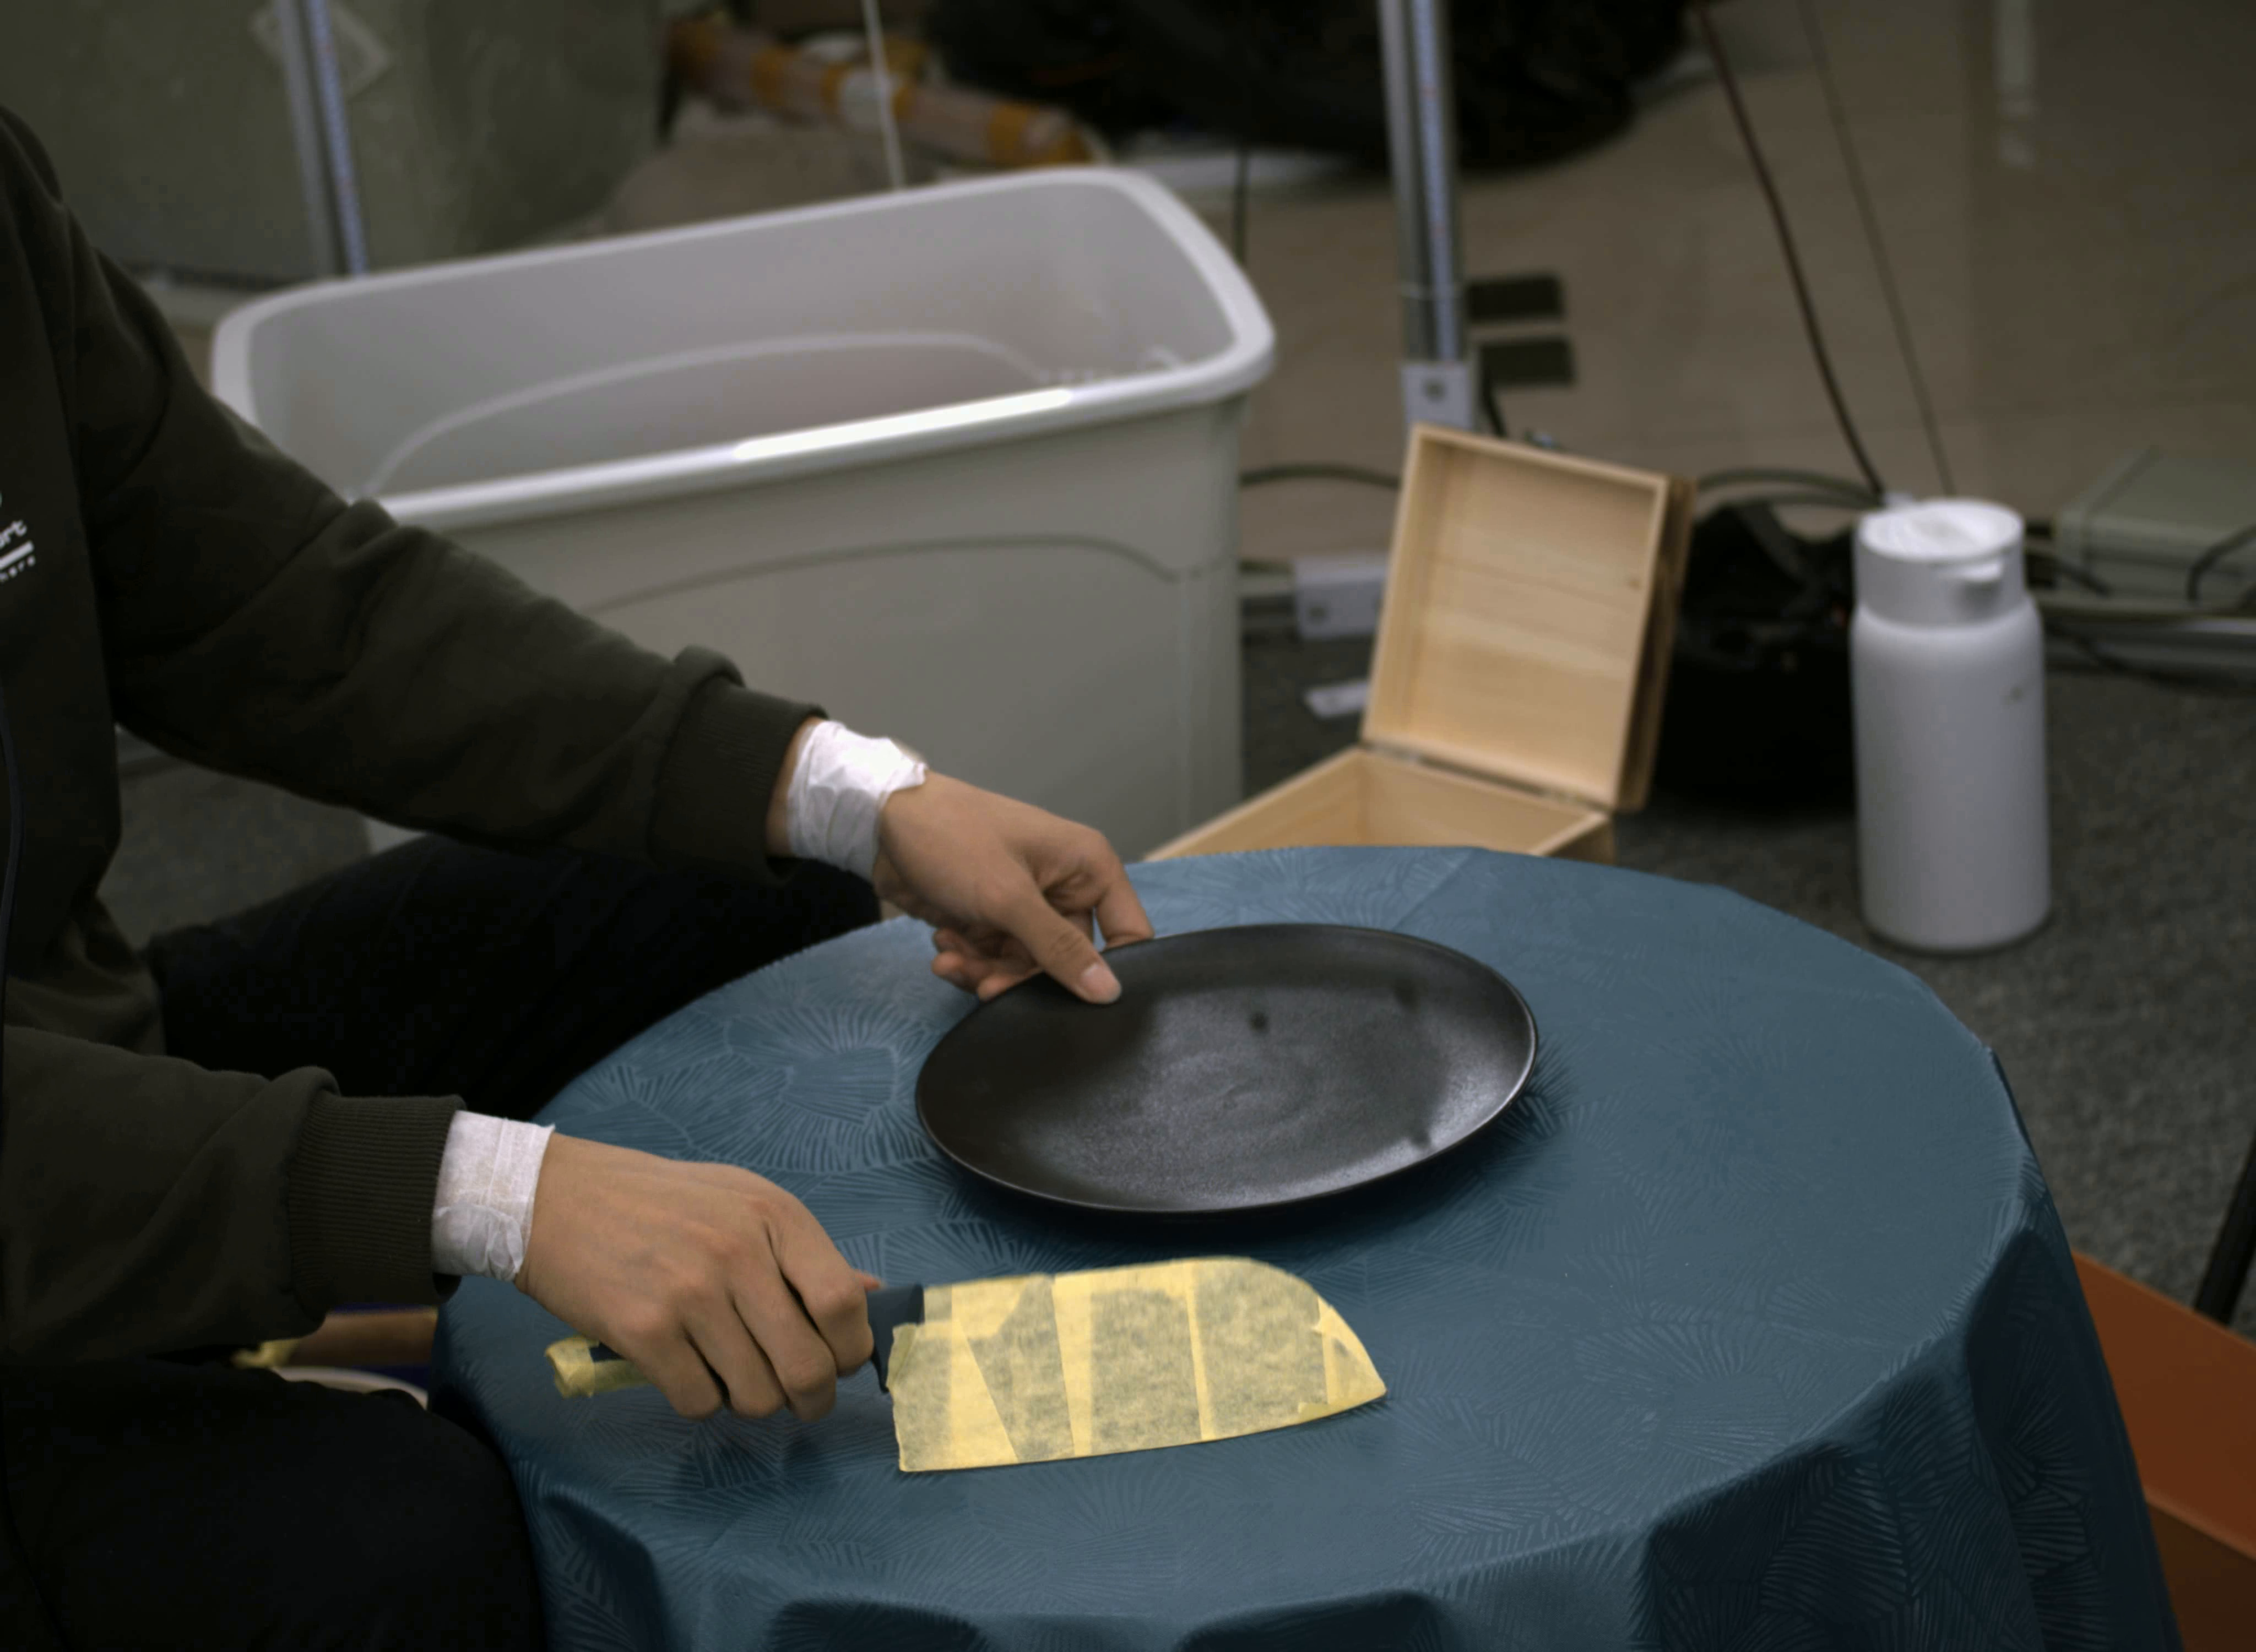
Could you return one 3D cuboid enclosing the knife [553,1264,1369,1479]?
[{"bbox_3d":[-0.059,0.195,2.000,0.289,0.028,0.079,-5,51,1],"label":"knife"}]

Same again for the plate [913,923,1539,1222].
[{"bbox_3d":[0.039,0.100,2.197,0.244,0.024,0.241,-5,25,3],"label":"plate"}]
